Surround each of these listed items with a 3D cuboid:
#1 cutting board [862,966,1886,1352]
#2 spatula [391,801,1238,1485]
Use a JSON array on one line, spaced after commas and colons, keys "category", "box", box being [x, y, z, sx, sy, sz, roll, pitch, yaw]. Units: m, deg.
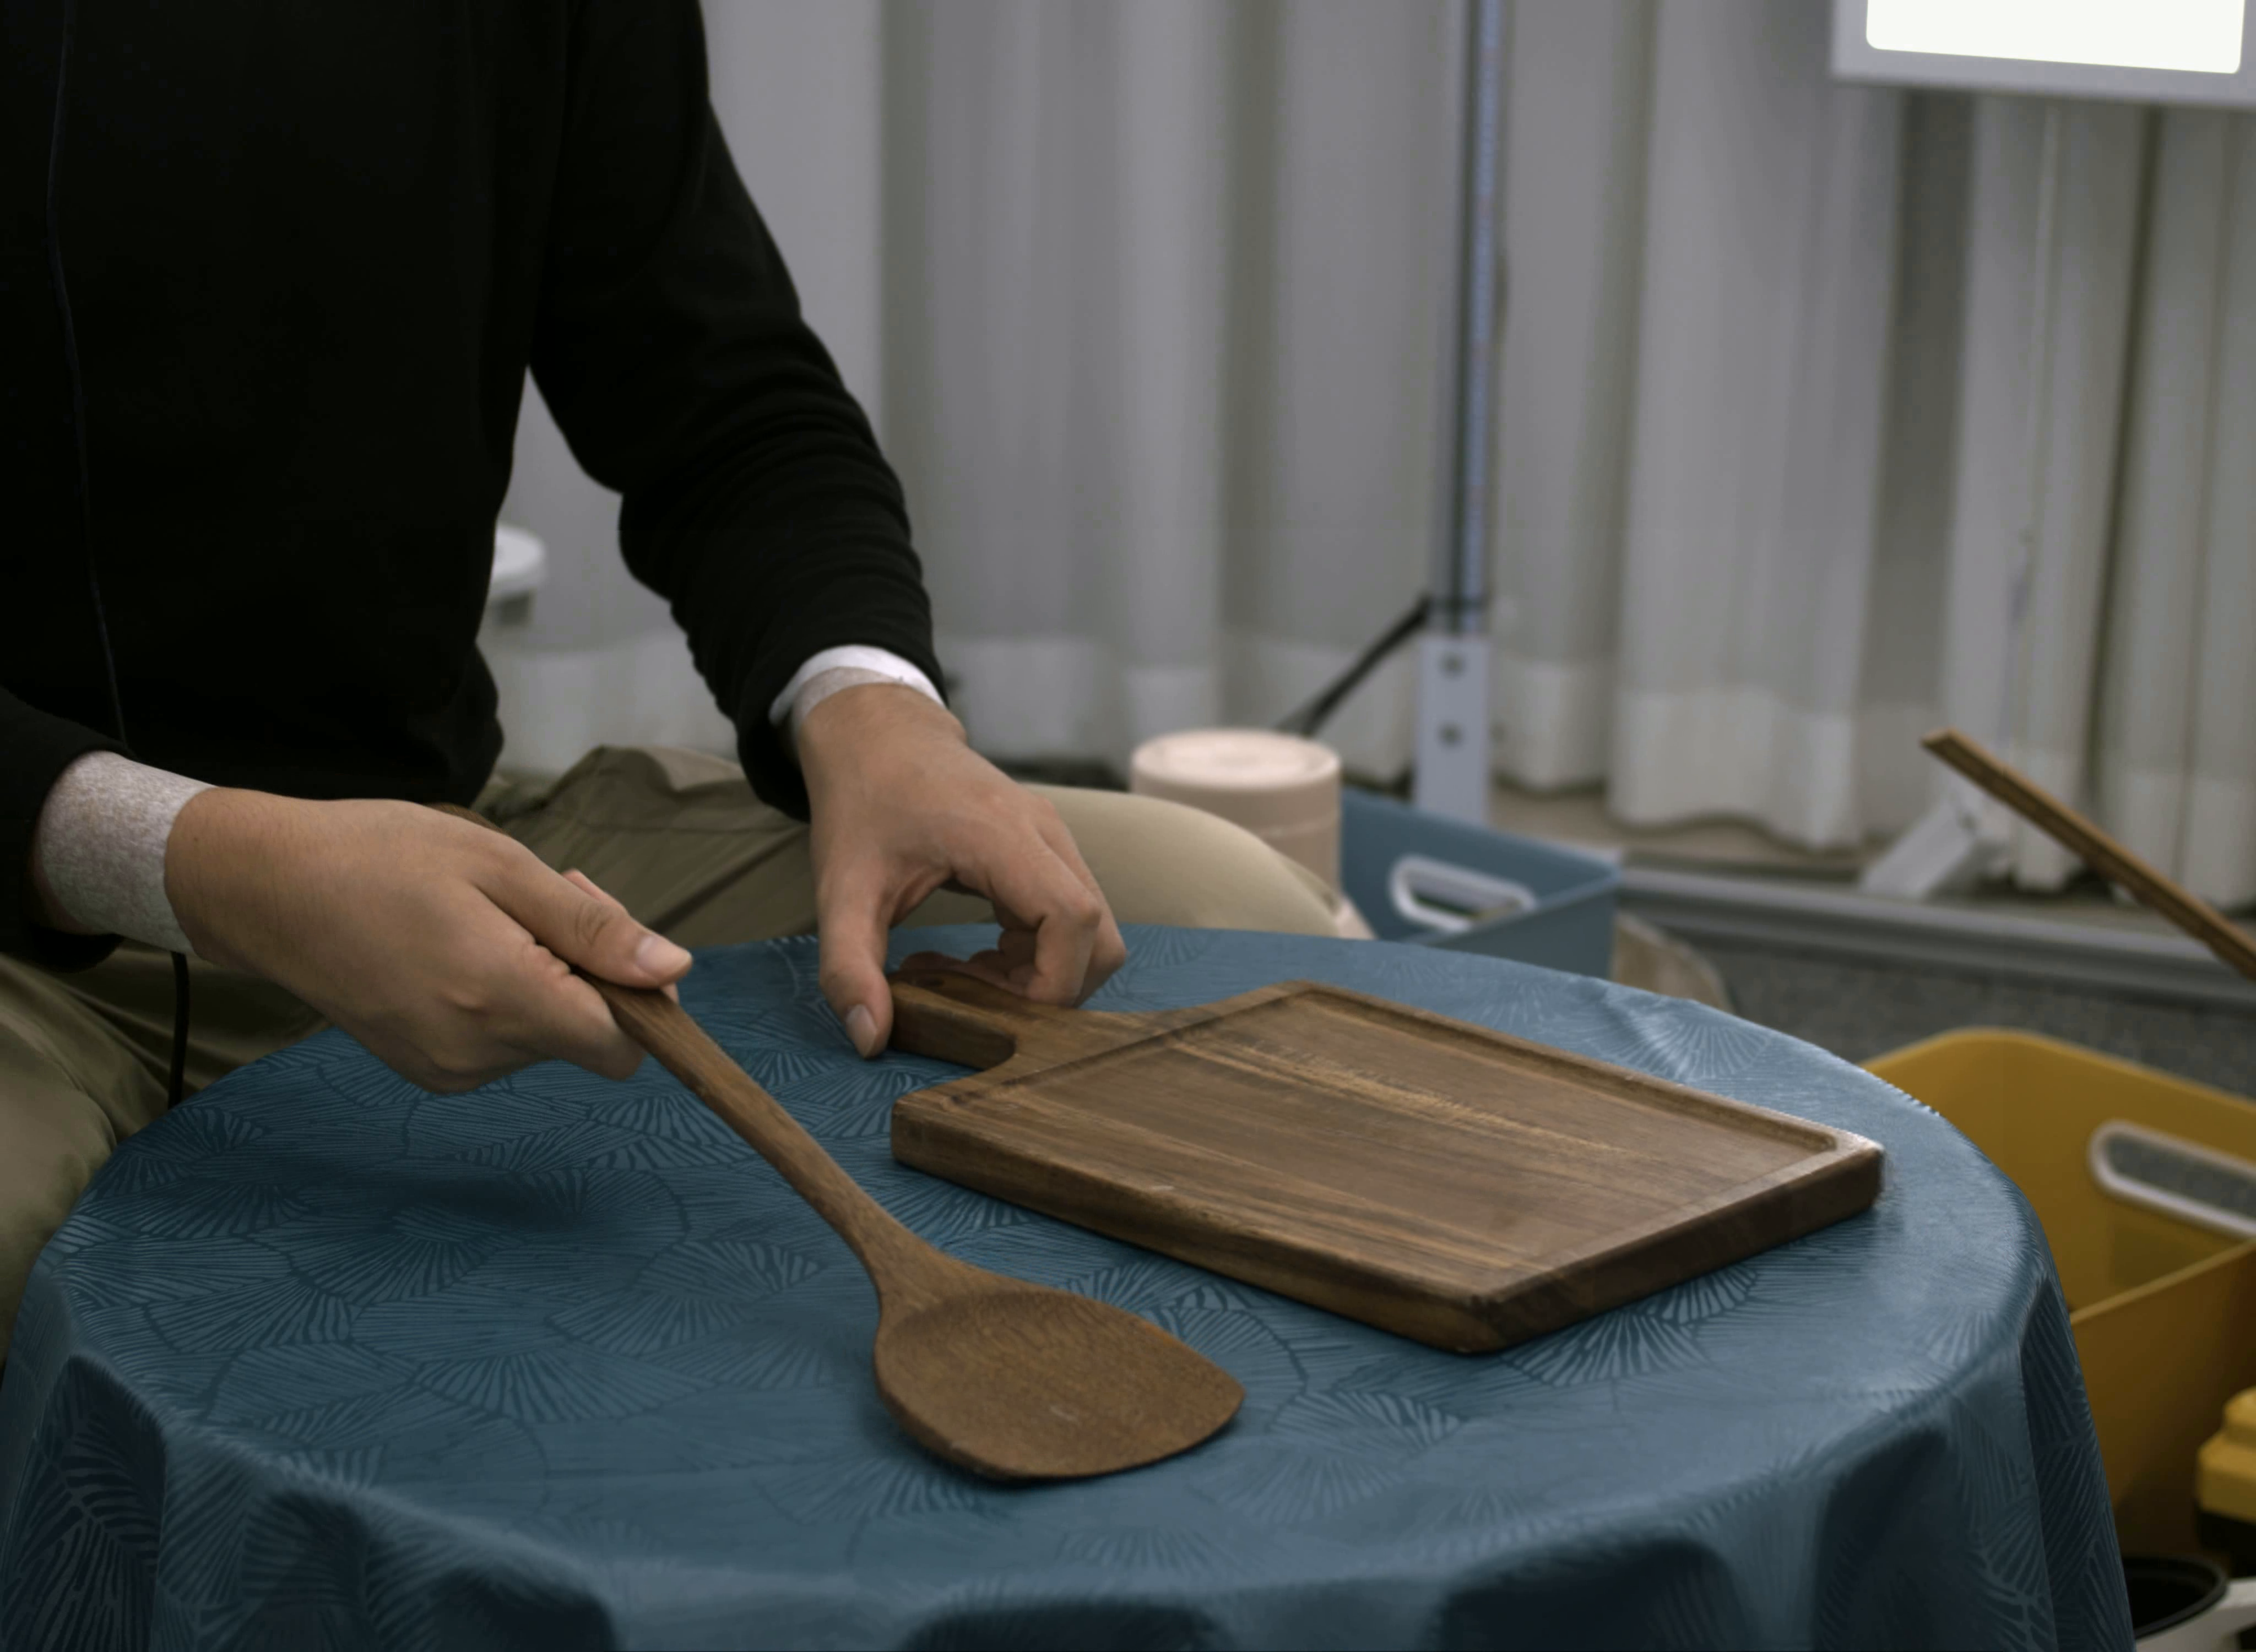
[{"category": "cutting board", "box": [0.044, 0.090, 1.661, 0.347, 0.023, 0.202, 15, 20, 42]}, {"category": "spatula", "box": [-0.112, 0.082, 1.530, 0.096, 0.016, 0.380, -13, 37, -37]}]
